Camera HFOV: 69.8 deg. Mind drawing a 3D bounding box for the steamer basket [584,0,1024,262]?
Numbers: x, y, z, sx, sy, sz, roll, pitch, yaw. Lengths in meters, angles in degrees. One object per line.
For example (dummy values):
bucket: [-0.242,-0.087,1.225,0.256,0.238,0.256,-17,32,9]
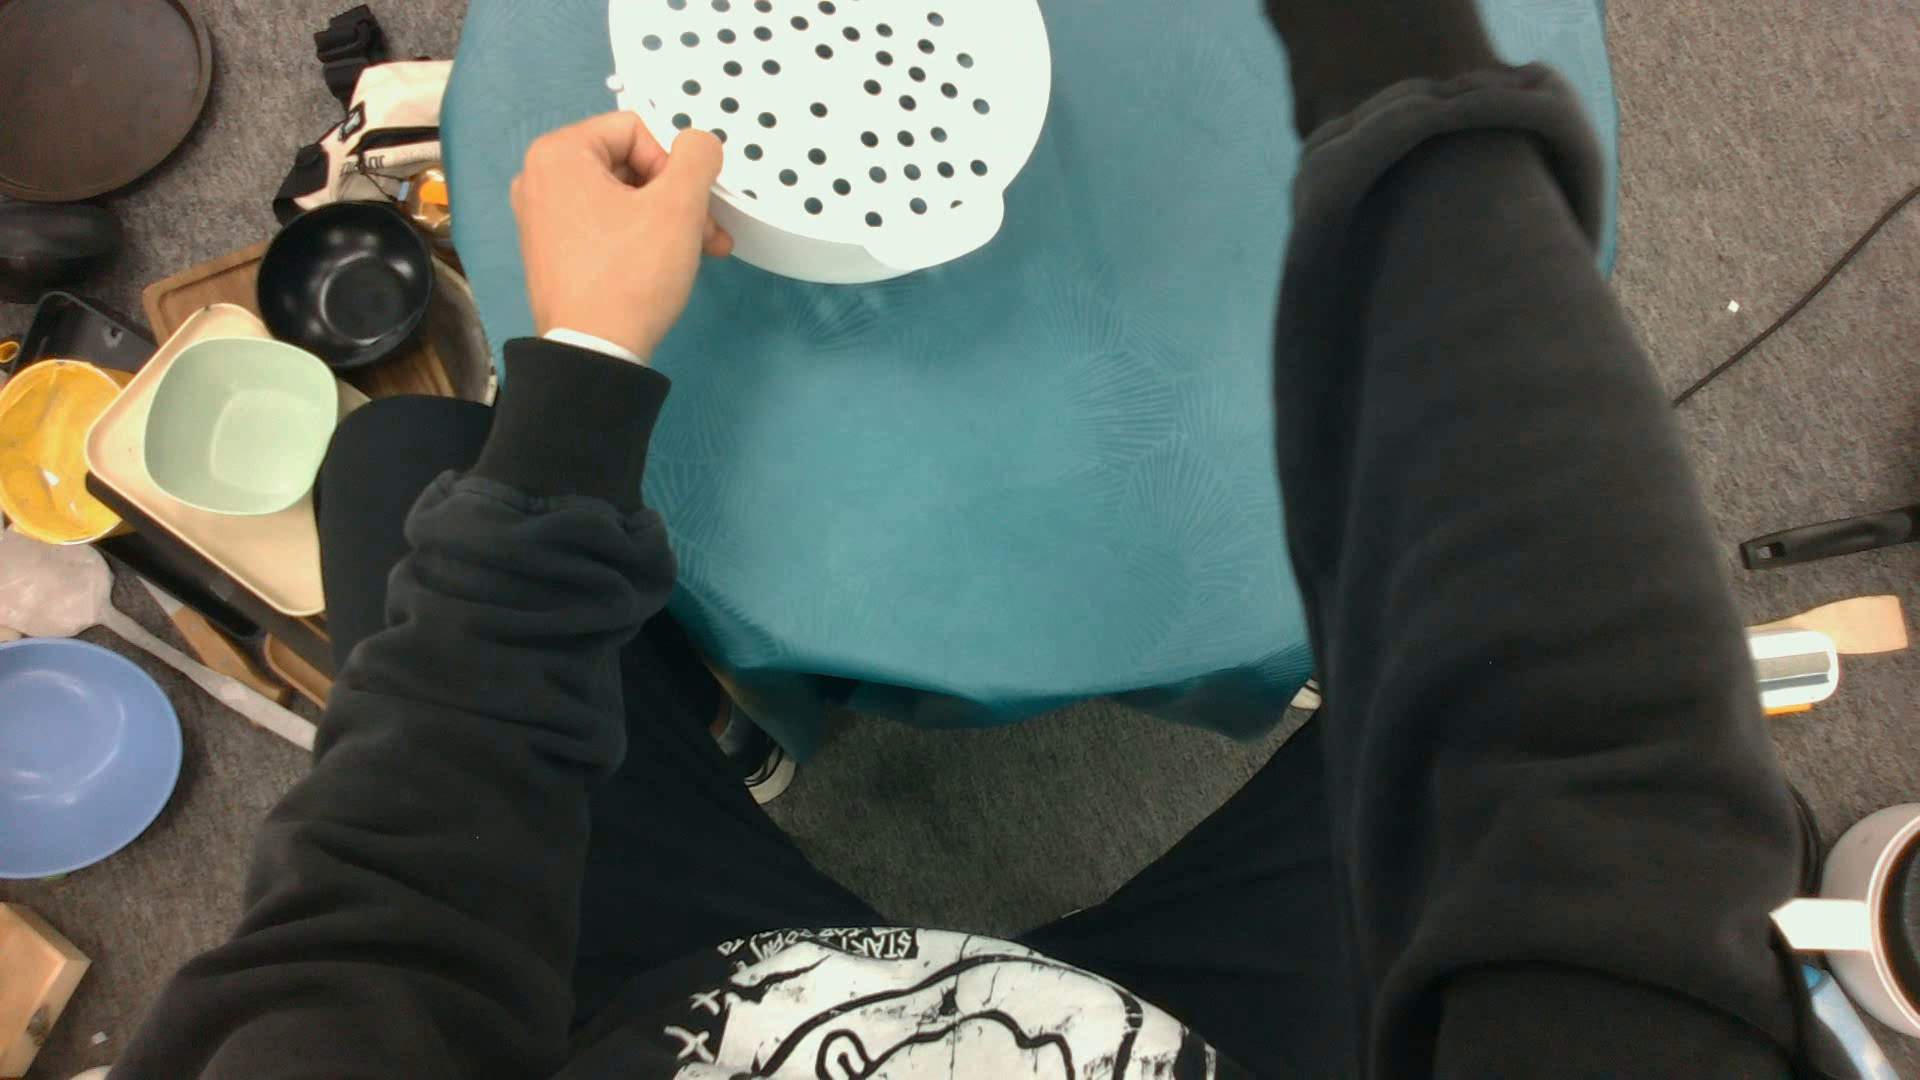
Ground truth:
steamer basket: [-0.074,-0.229,0.653,0.202,0.069,0.231,-25,81,-21]
